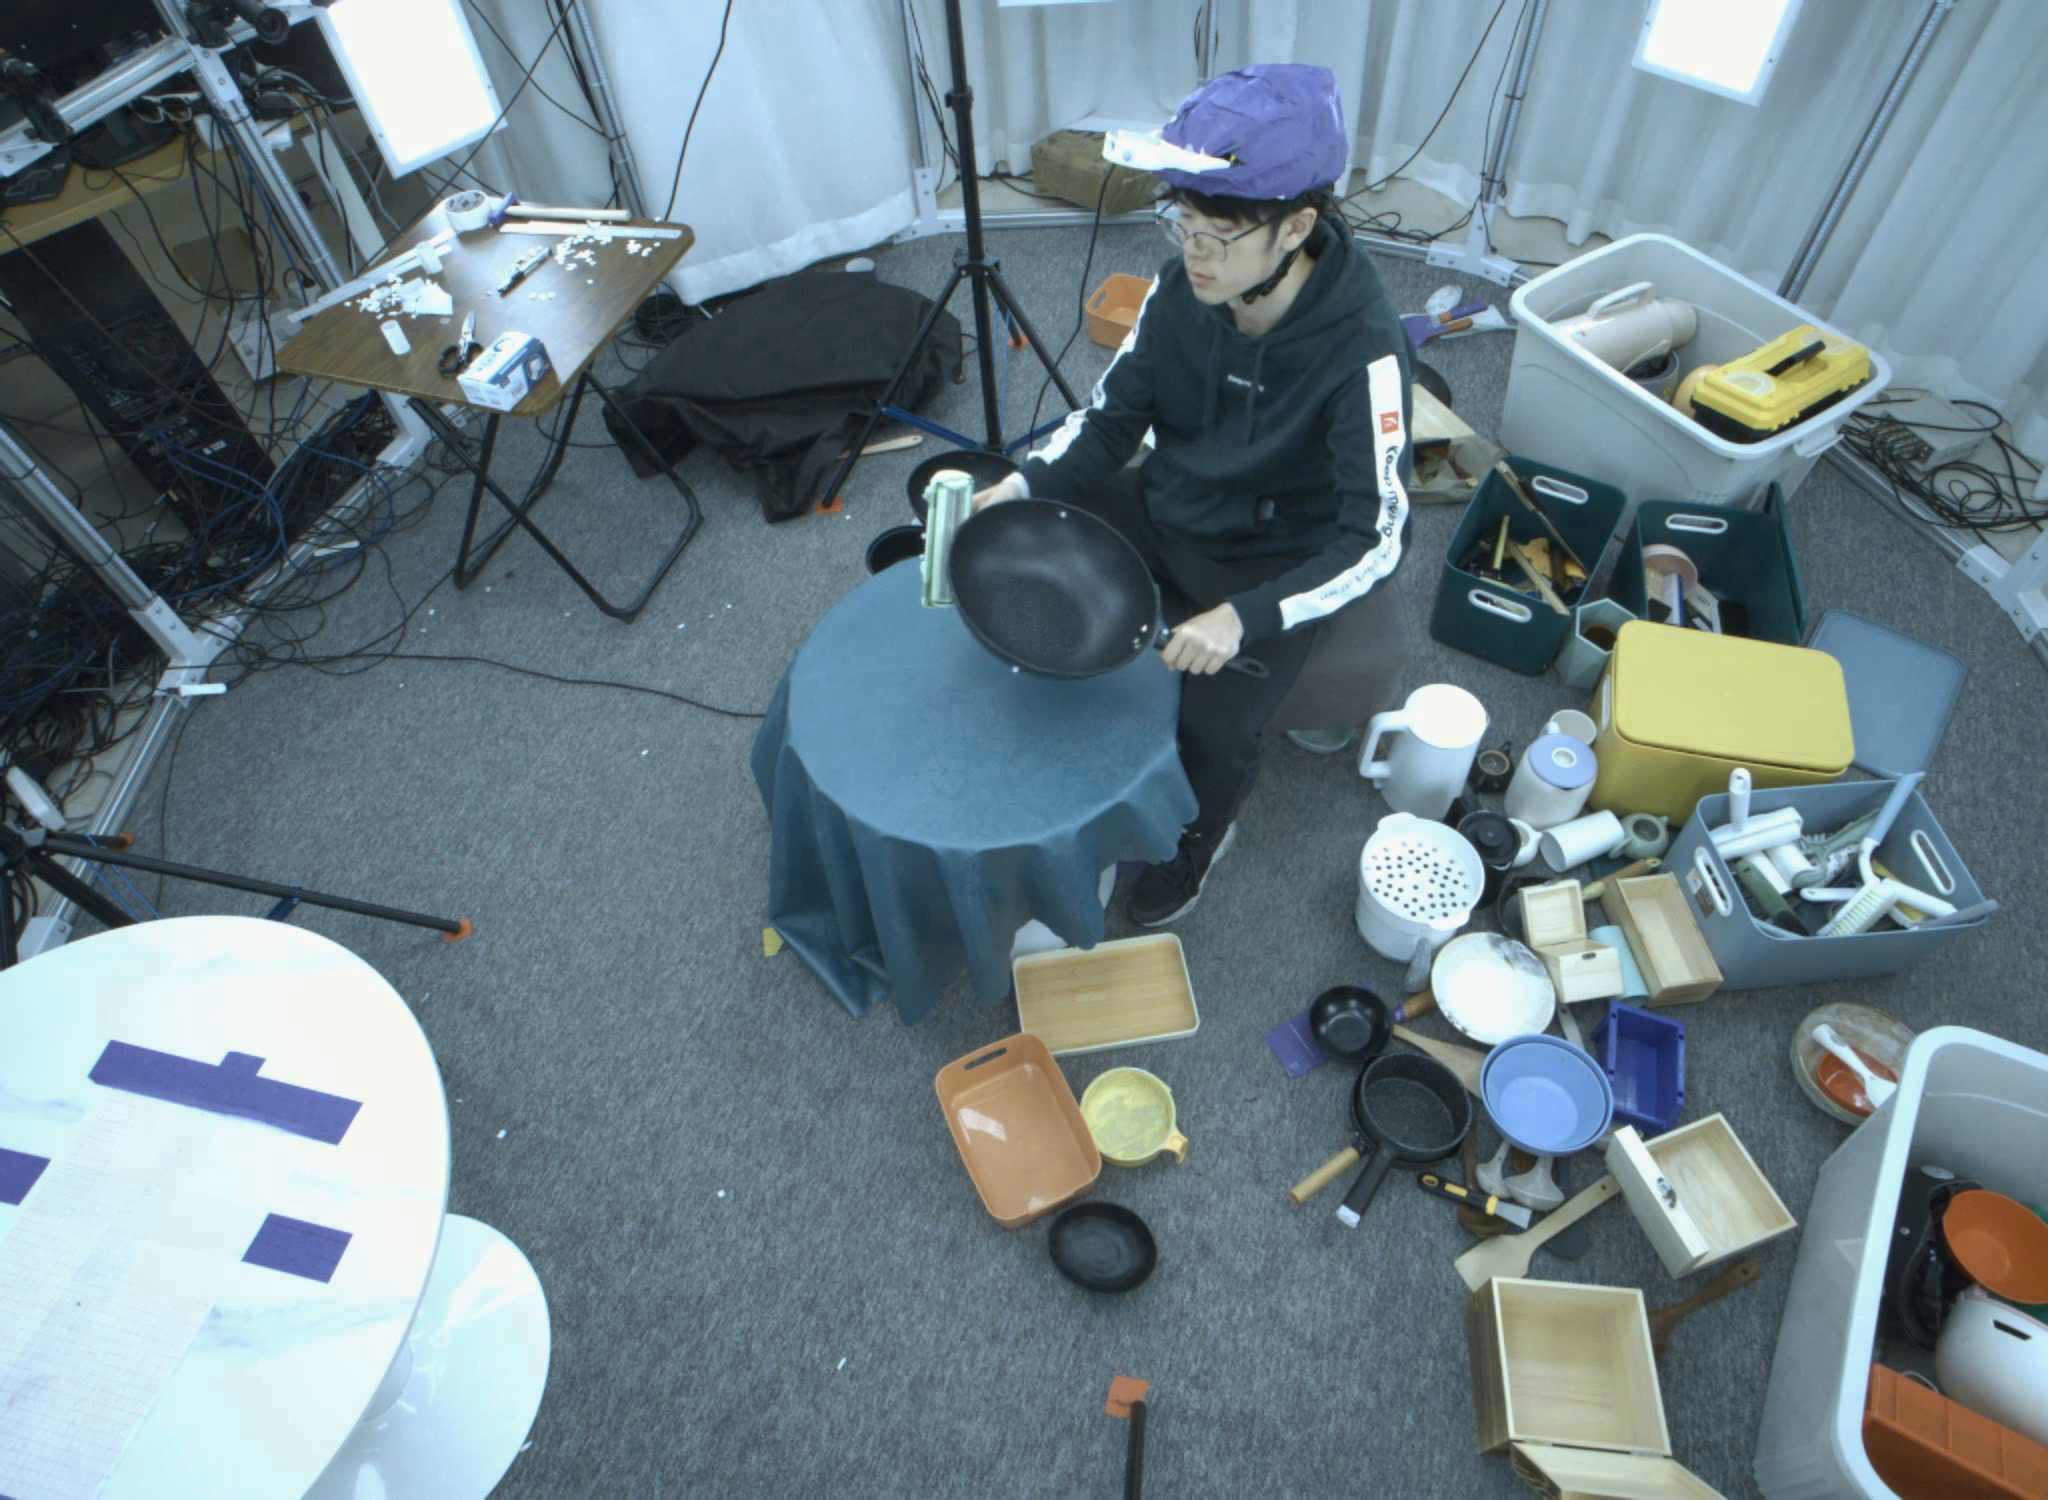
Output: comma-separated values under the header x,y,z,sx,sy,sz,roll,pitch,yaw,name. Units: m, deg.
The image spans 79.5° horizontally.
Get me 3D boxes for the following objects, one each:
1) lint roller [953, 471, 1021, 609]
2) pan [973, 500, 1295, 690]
x,y,z,sx,sy,sz,roll,pitch,yaw,name
-0.042,-0.319,1.773,0.081,0.200,0.185,21,34,21,lint roller
0.147,-0.175,1.728,0.478,0.111,0.310,27,56,-3,pan
